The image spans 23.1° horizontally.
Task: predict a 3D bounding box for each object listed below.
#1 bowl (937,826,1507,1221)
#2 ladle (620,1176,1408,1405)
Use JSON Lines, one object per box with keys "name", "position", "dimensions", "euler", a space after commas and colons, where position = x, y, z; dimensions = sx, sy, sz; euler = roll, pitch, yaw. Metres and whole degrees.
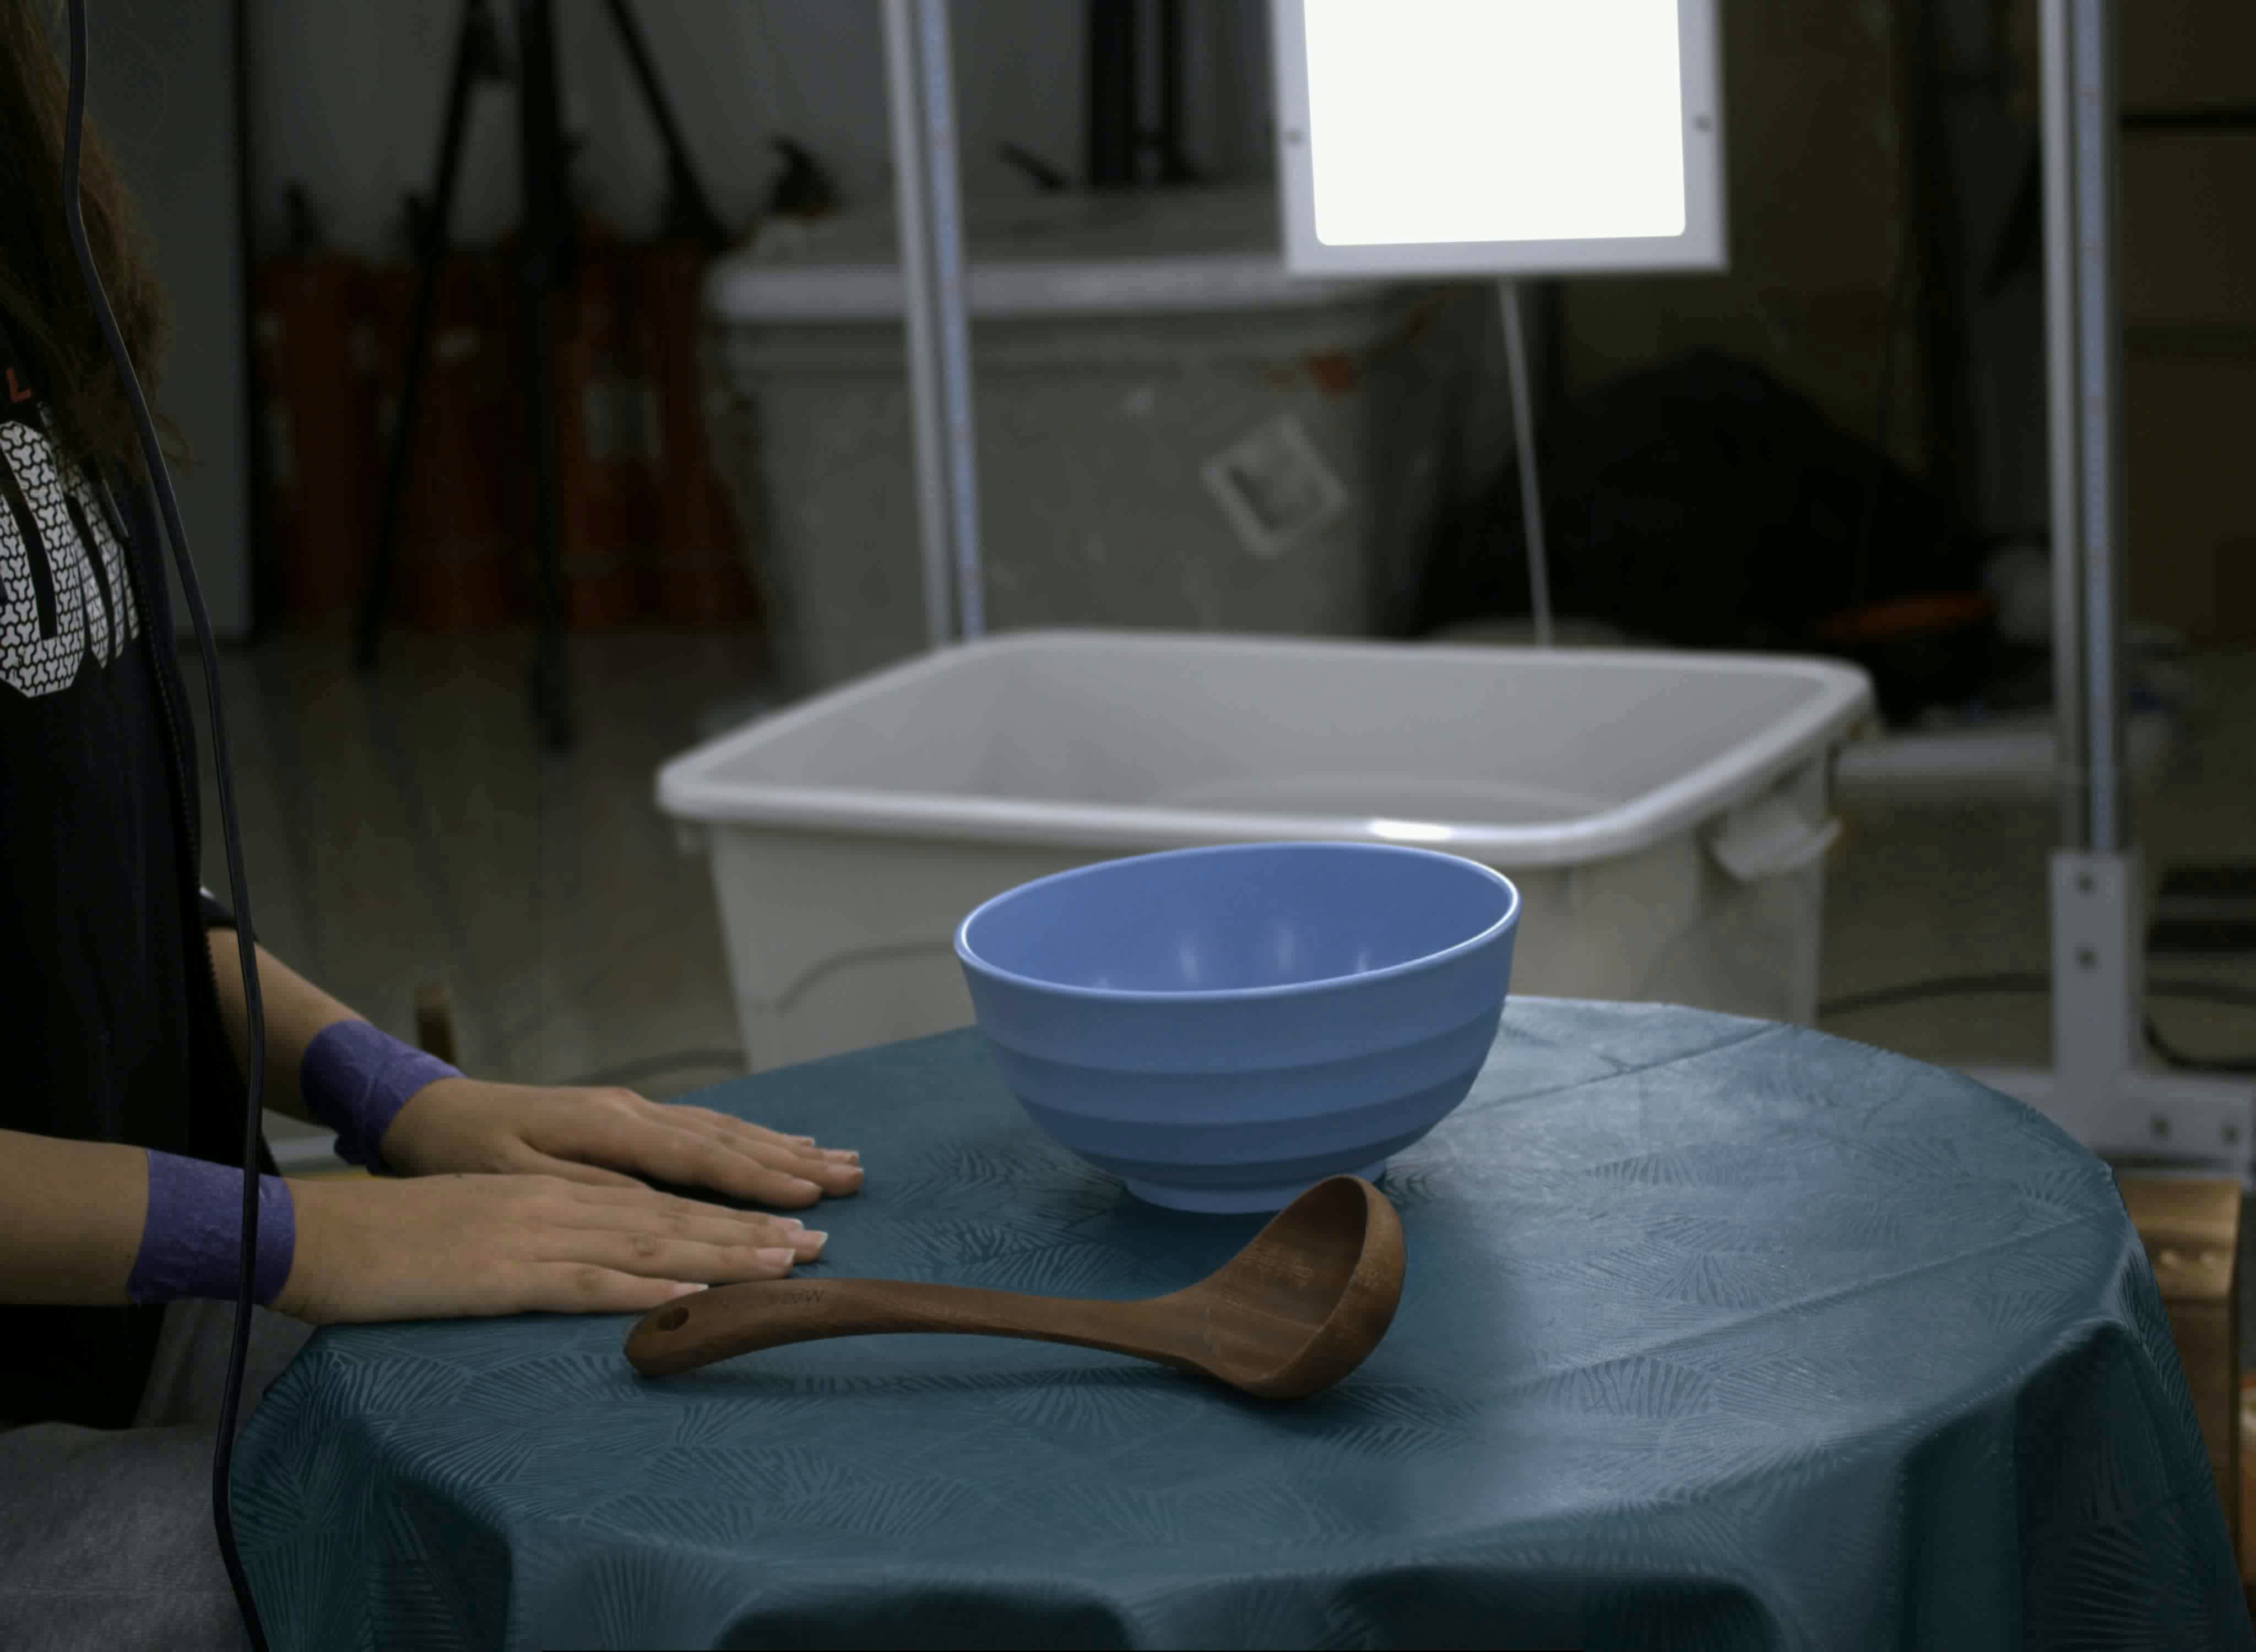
{"name": "bowl", "position": [0.034, 0.075, 1.900], "dimensions": [0.196, 0.096, 0.196], "euler": [-3, 19, 0]}
{"name": "ladle", "position": [-0.039, 0.145, 1.711], "dimensions": [0.263, 0.065, 0.076], "euler": [-1, 42, 15]}
